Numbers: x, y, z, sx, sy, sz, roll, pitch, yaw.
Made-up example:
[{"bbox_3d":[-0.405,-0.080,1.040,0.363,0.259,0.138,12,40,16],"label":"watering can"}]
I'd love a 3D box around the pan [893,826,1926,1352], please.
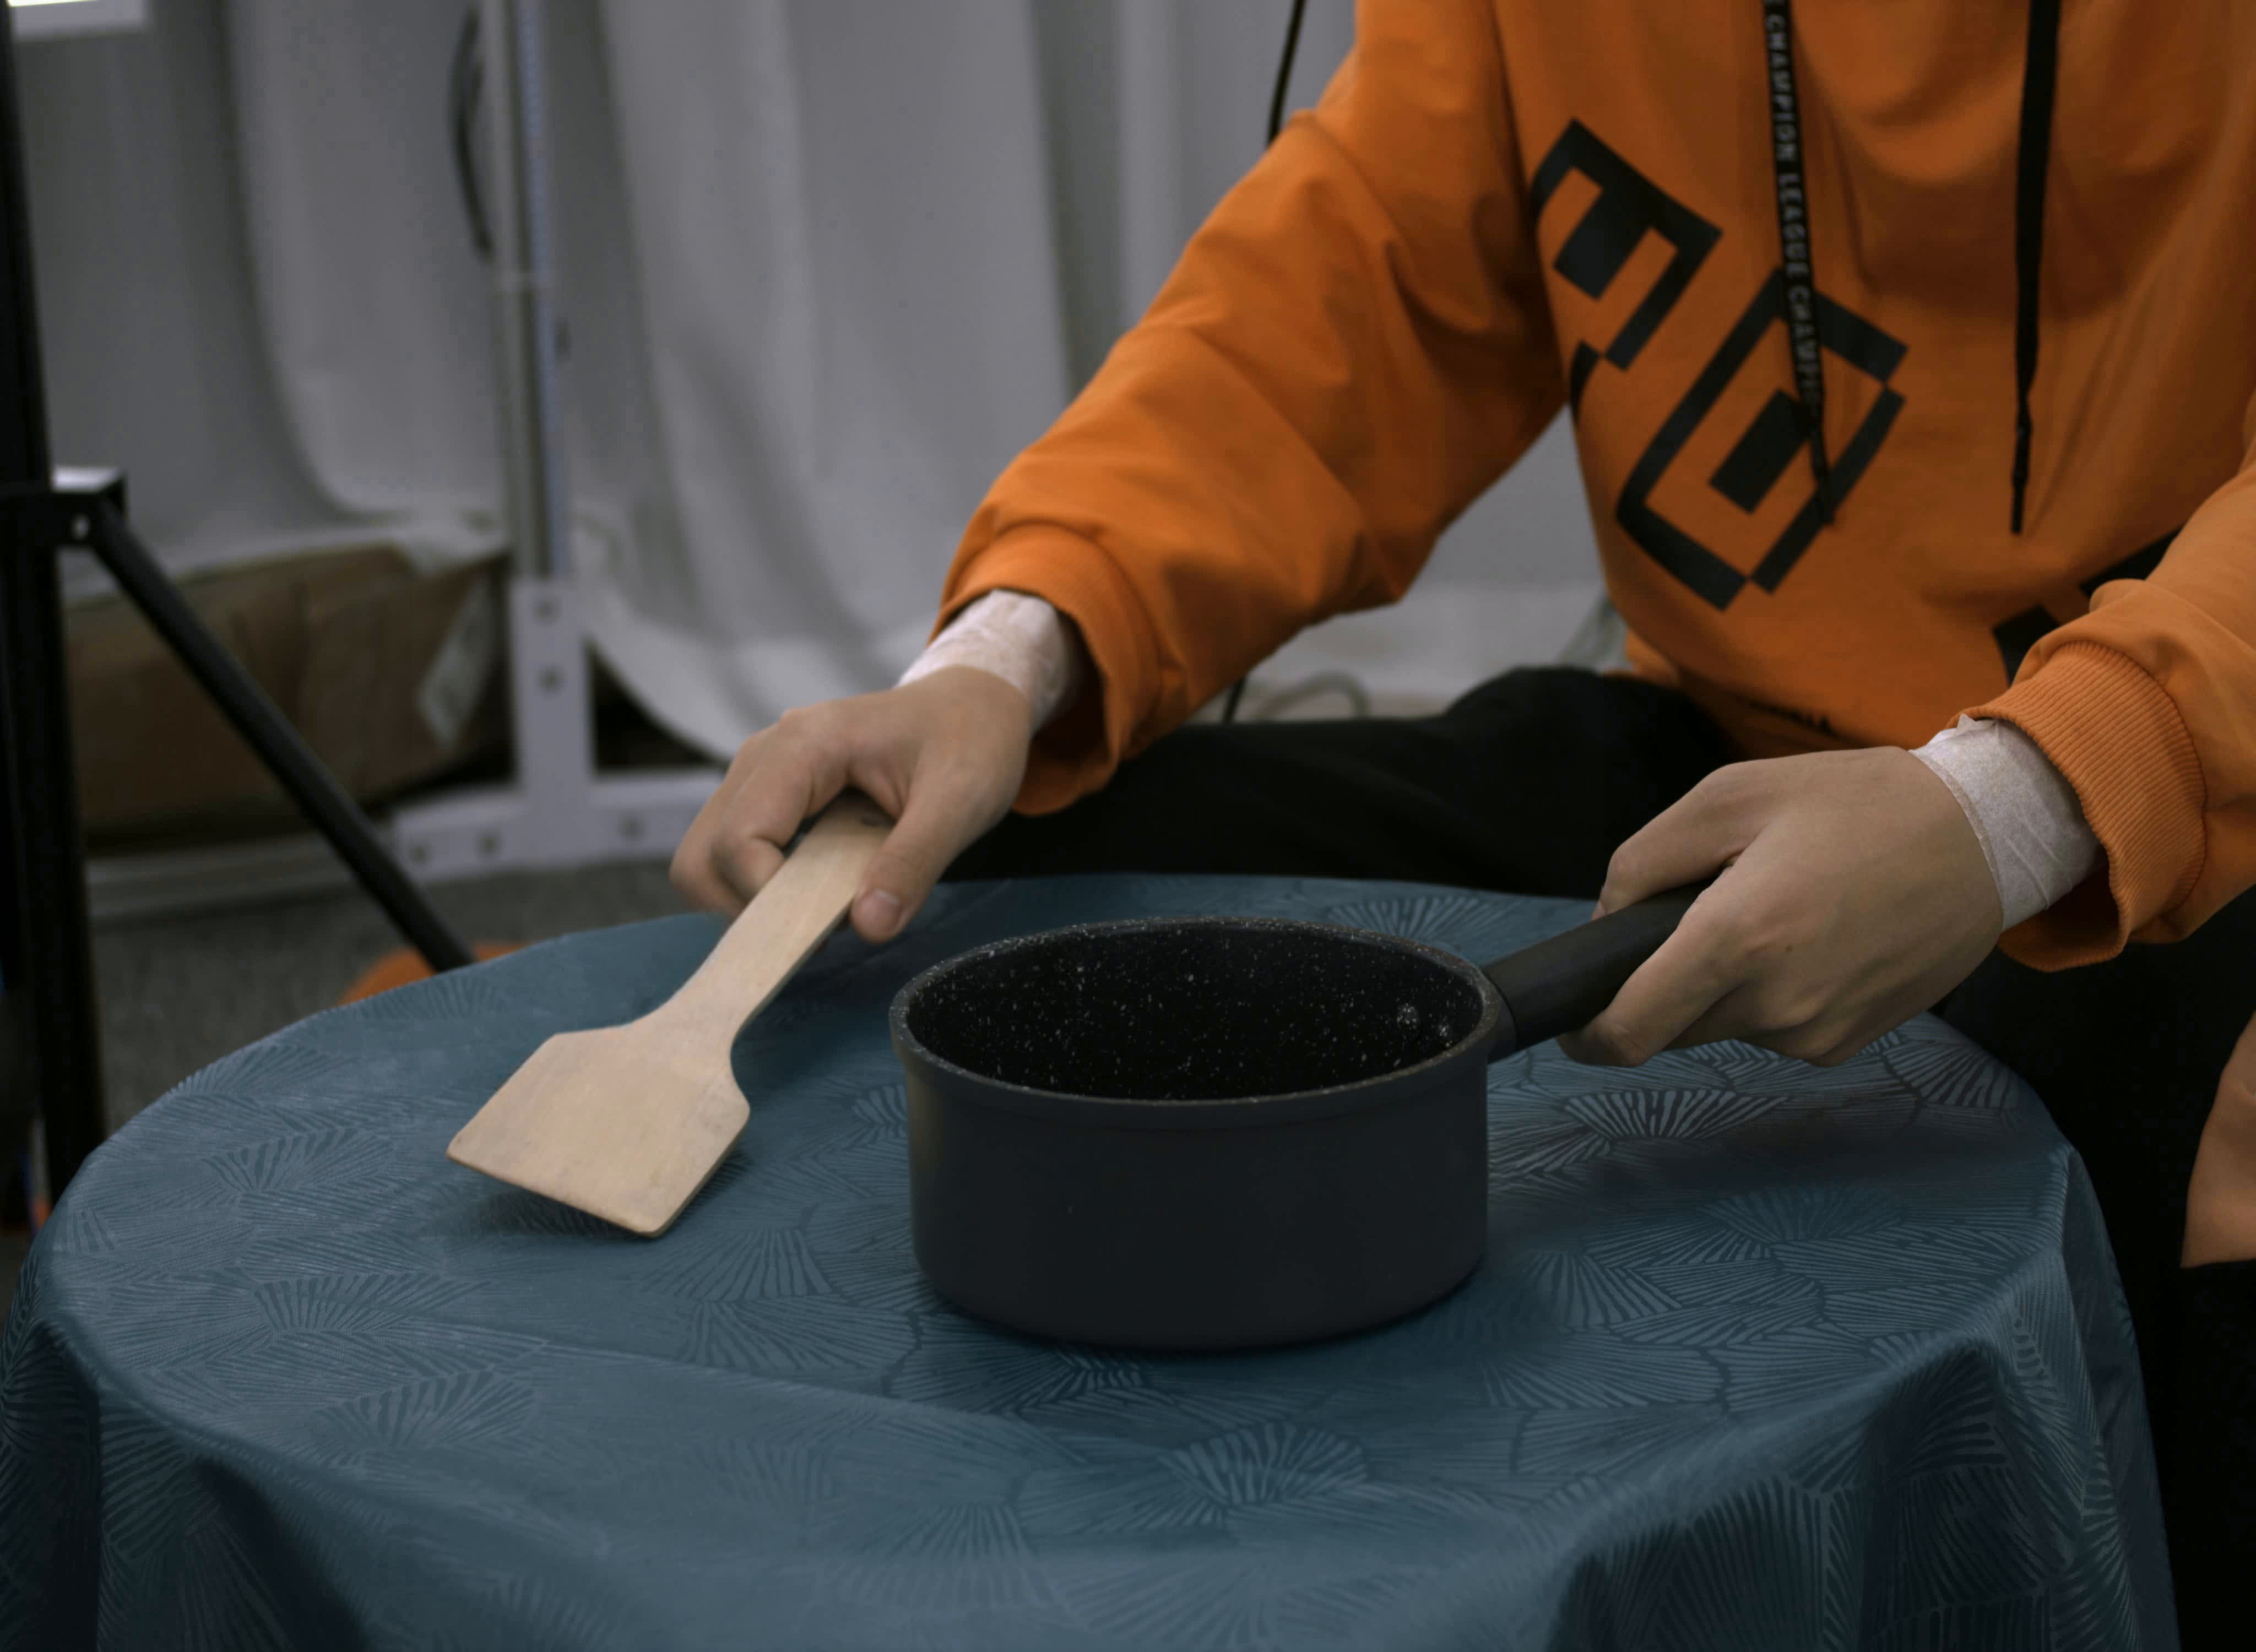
[{"bbox_3d":[0.089,0.070,1.523,0.322,0.086,0.175,-11,19,-25],"label":"pan"}]

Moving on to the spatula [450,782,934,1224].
[{"bbox_3d":[-0.123,0.048,1.672,0.073,0.010,0.290,18,29,12],"label":"spatula"}]
